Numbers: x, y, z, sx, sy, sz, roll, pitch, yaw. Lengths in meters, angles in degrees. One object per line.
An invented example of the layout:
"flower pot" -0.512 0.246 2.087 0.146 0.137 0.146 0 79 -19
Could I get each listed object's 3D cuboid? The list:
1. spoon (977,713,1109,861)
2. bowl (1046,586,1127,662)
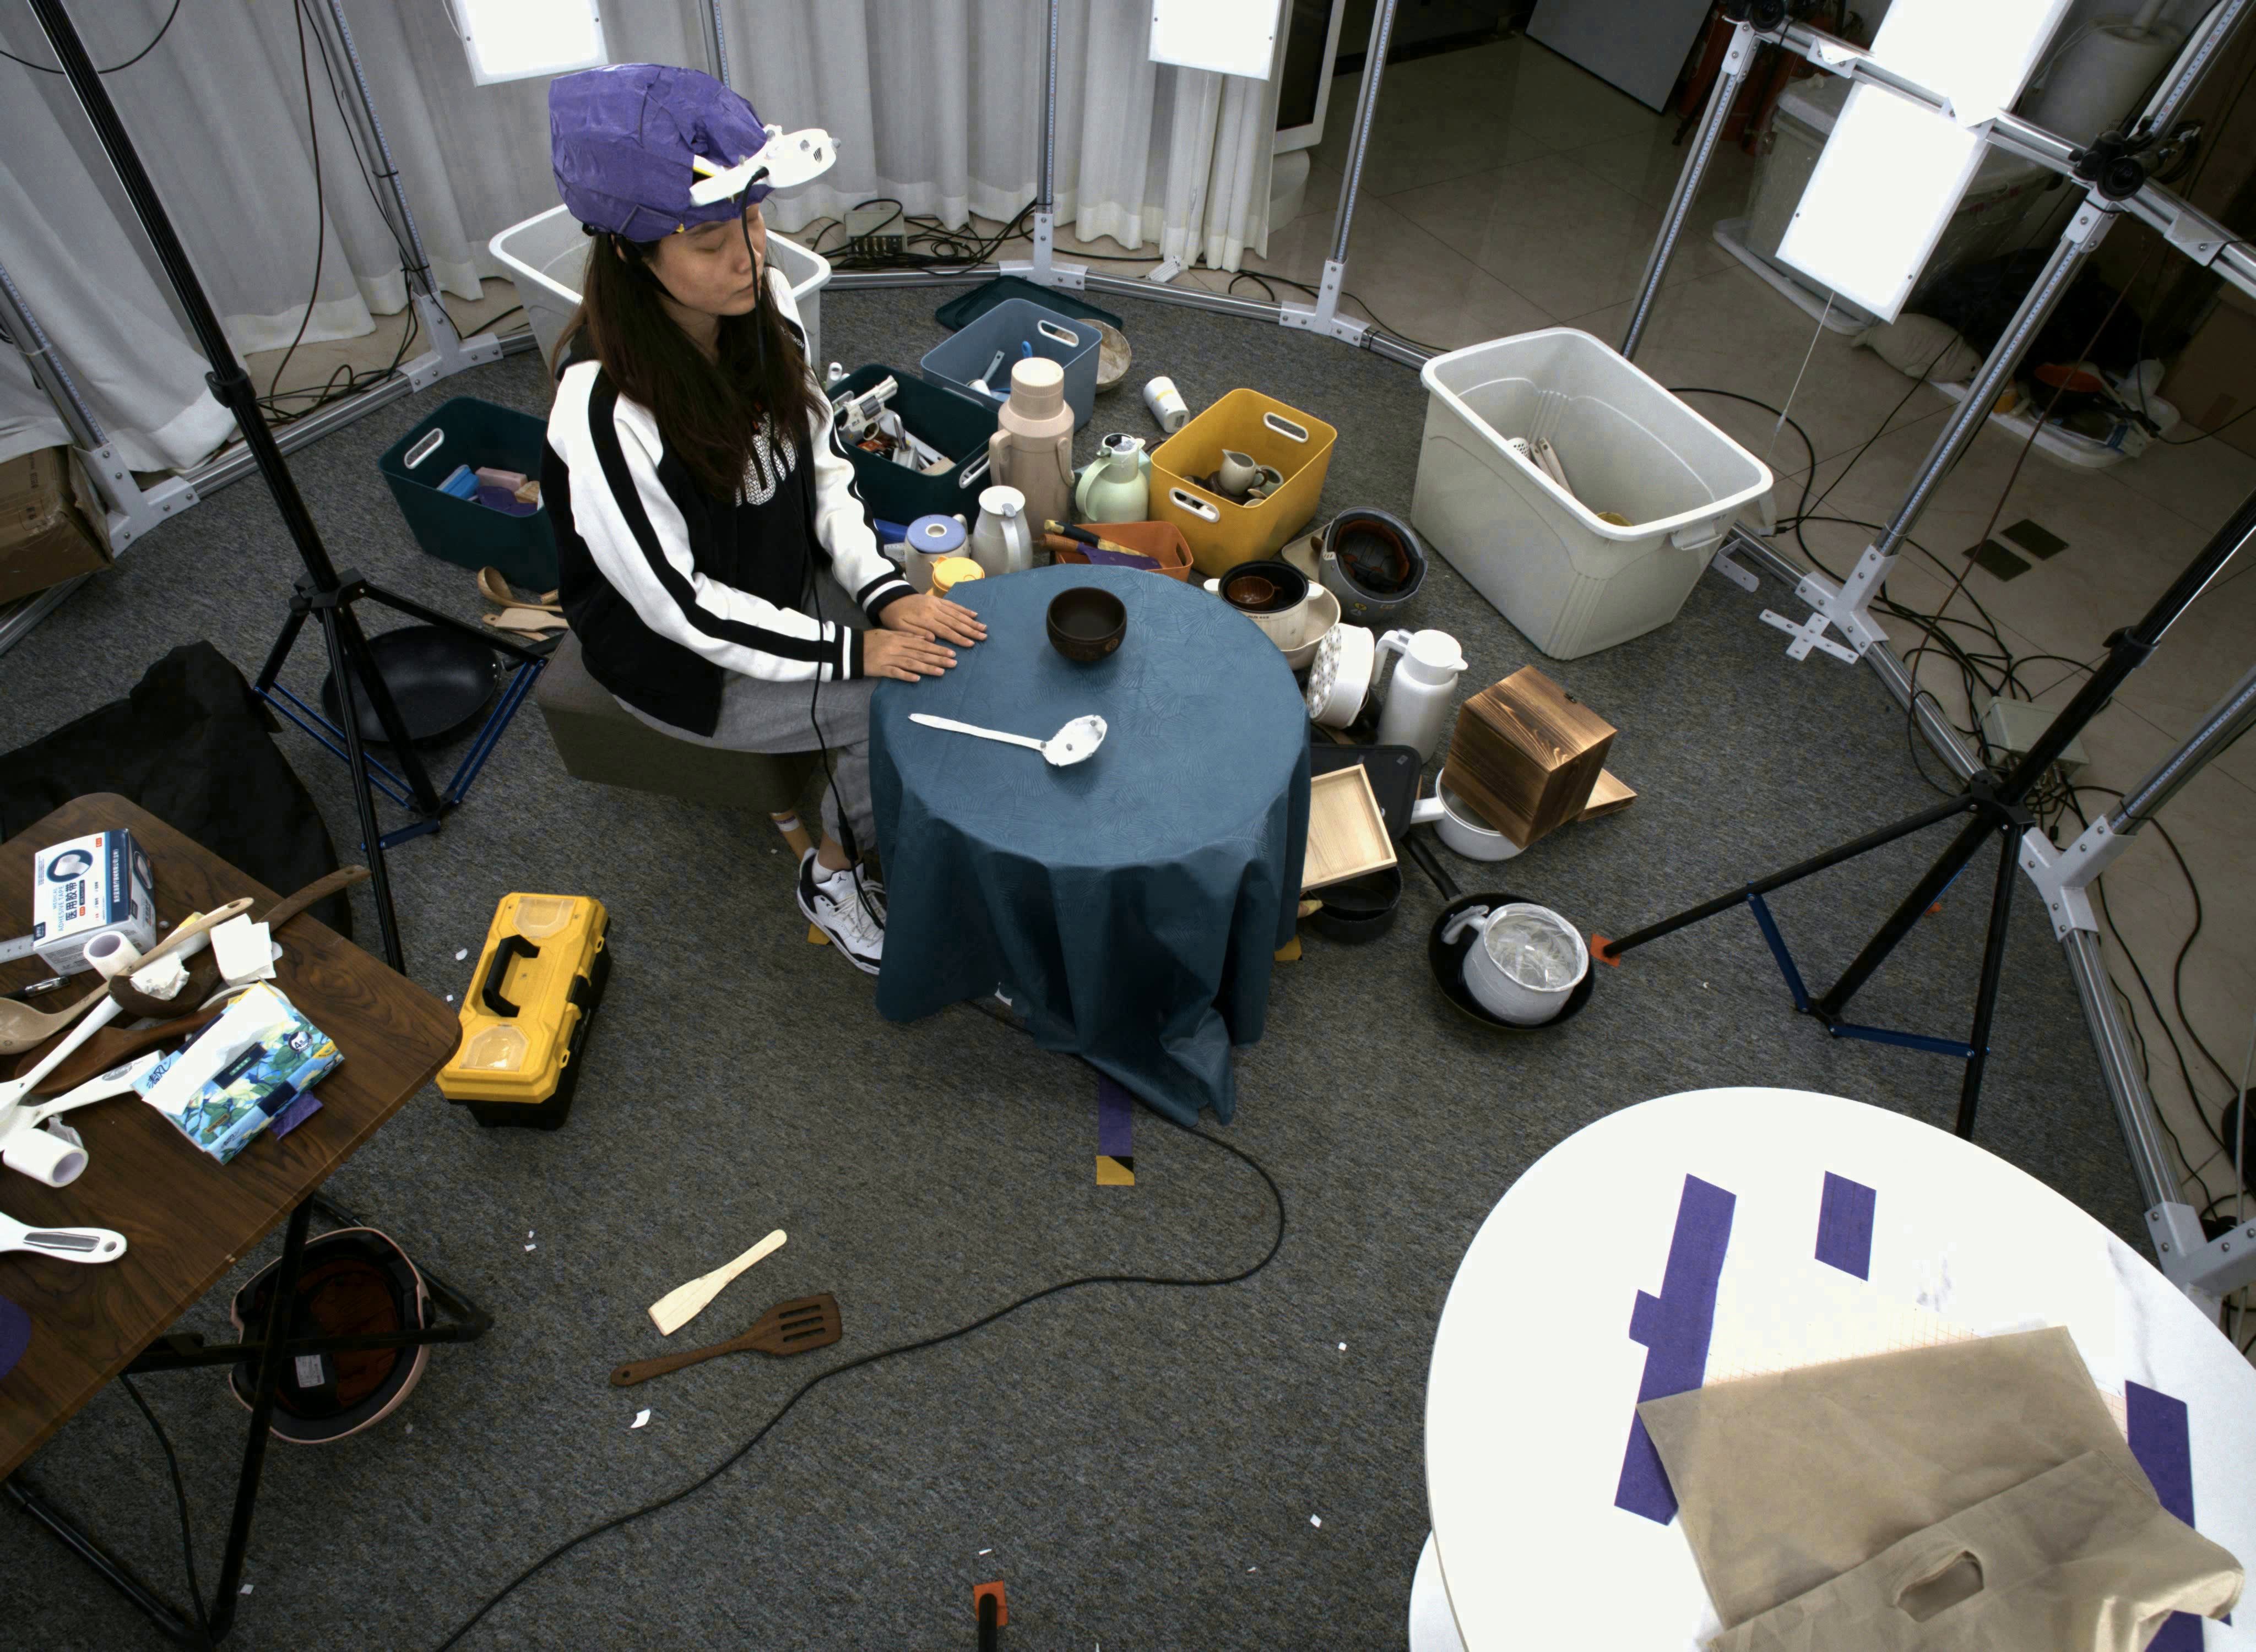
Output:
"spoon" -0.120 -0.046 1.773 0.059 0.274 0.103 25 22 -20
"bowl" -0.060 -0.285 1.866 0.118 0.068 0.121 2 49 -2
